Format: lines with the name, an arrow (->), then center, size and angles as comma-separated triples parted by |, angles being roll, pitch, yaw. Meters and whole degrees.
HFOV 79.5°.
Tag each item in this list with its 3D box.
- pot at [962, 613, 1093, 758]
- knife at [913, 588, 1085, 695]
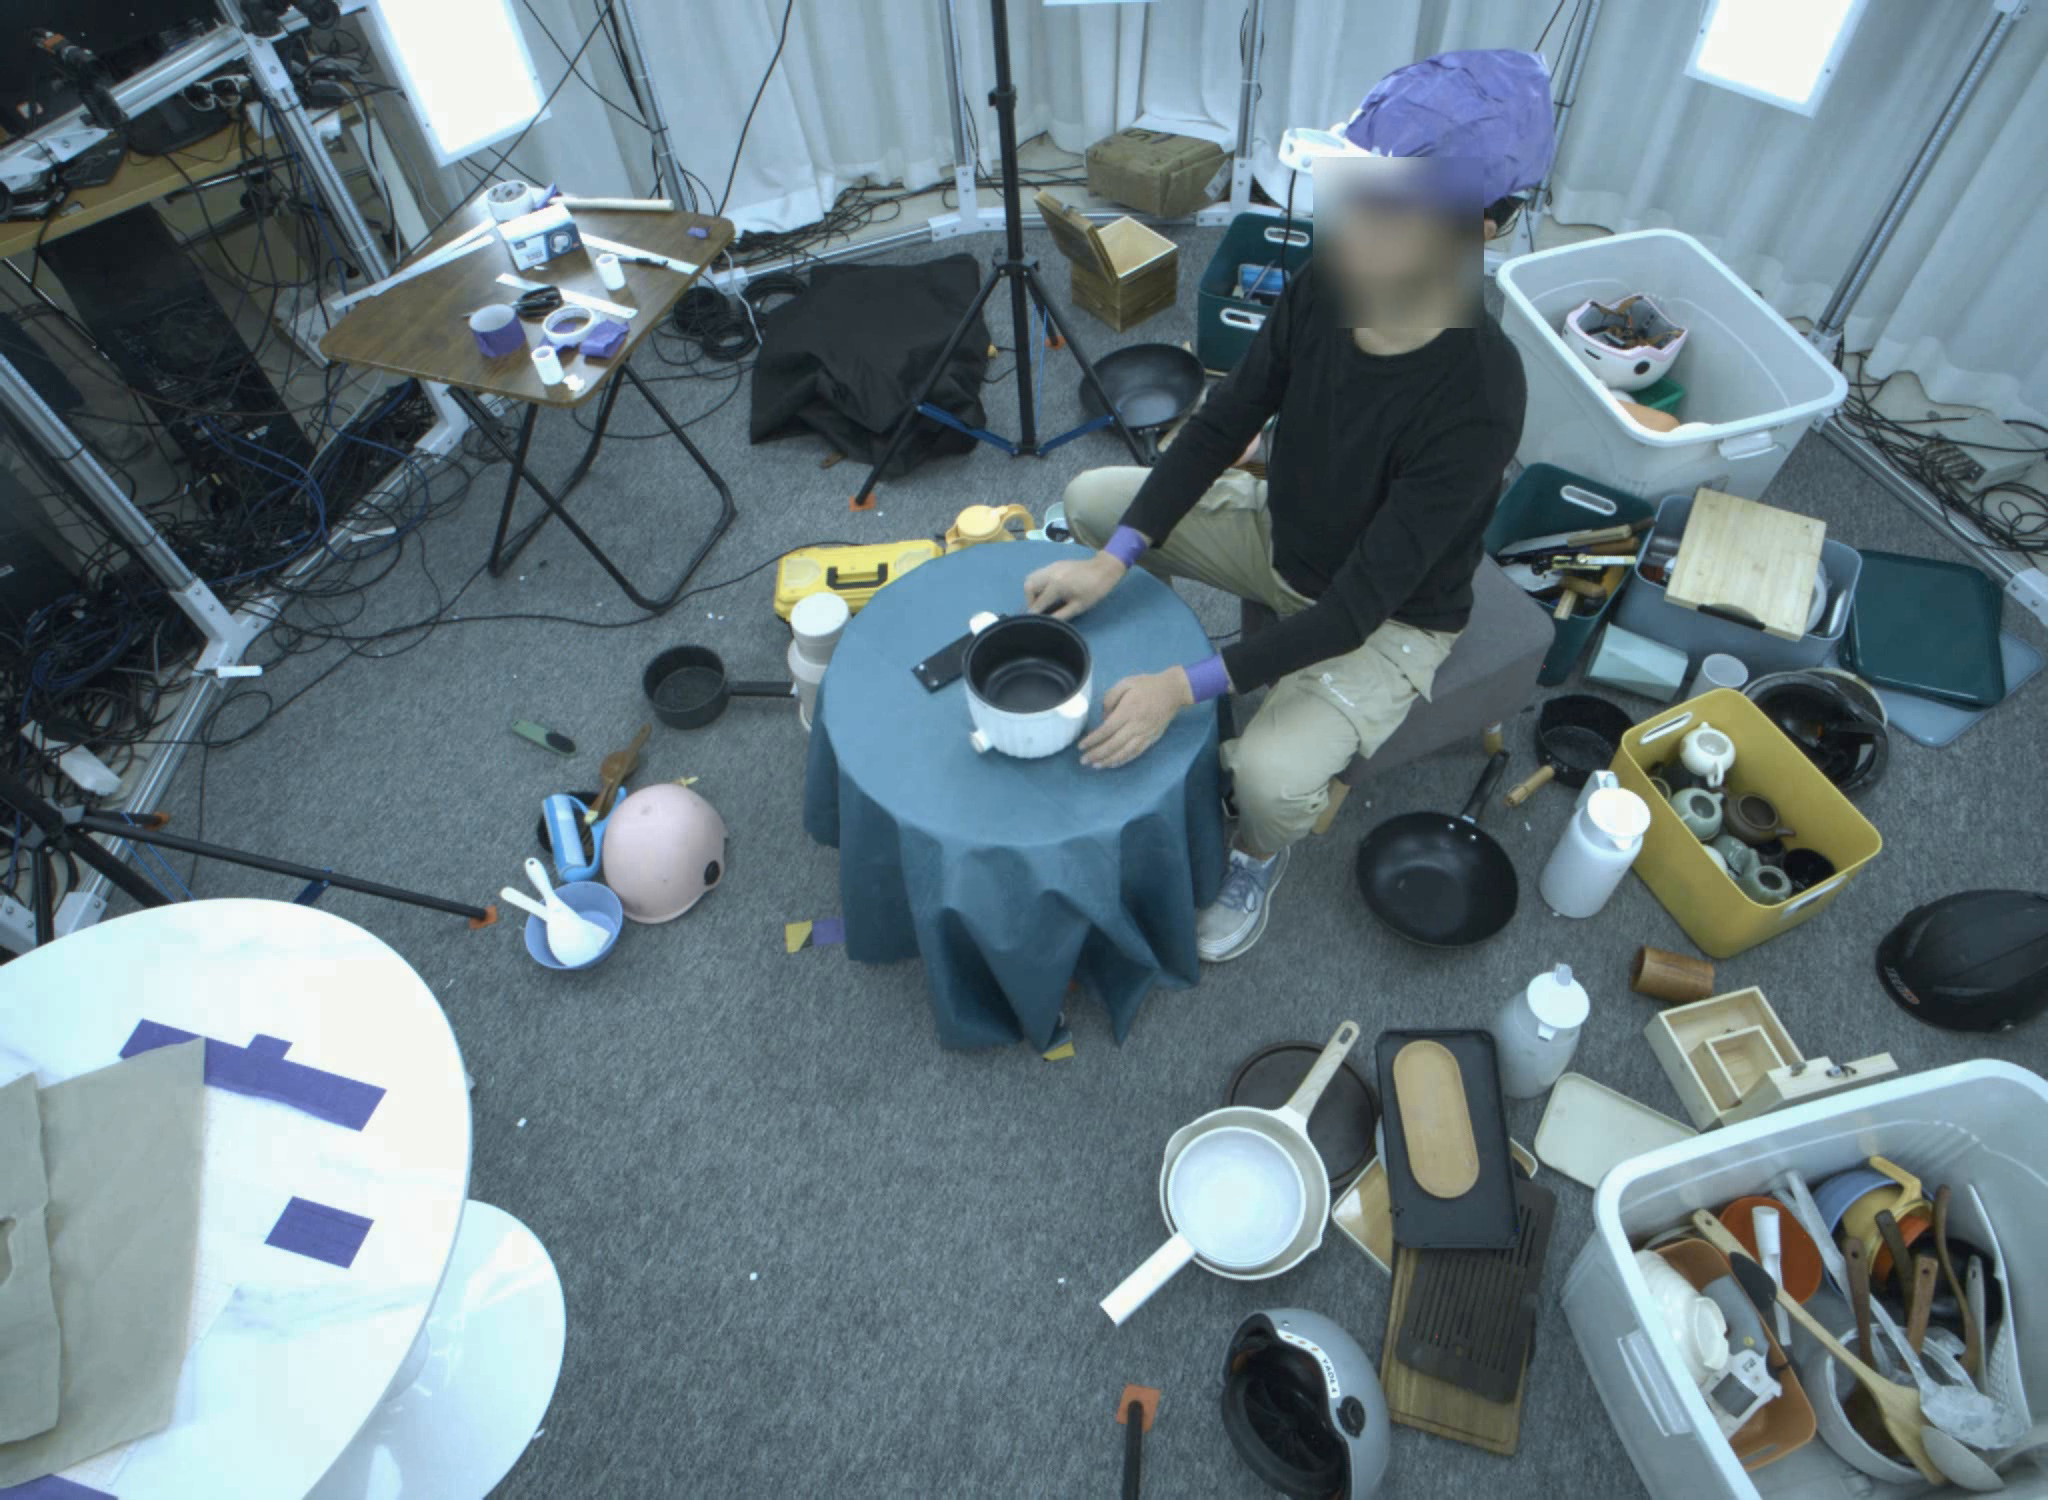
pot -> 0.004, -0.081, 1.755 | 0.192, 0.144, 0.236 | -33, 58, -23
knife -> -0.033, -0.175, 1.900 | 0.304, 0.021, 0.079 | -30, 54, -15
